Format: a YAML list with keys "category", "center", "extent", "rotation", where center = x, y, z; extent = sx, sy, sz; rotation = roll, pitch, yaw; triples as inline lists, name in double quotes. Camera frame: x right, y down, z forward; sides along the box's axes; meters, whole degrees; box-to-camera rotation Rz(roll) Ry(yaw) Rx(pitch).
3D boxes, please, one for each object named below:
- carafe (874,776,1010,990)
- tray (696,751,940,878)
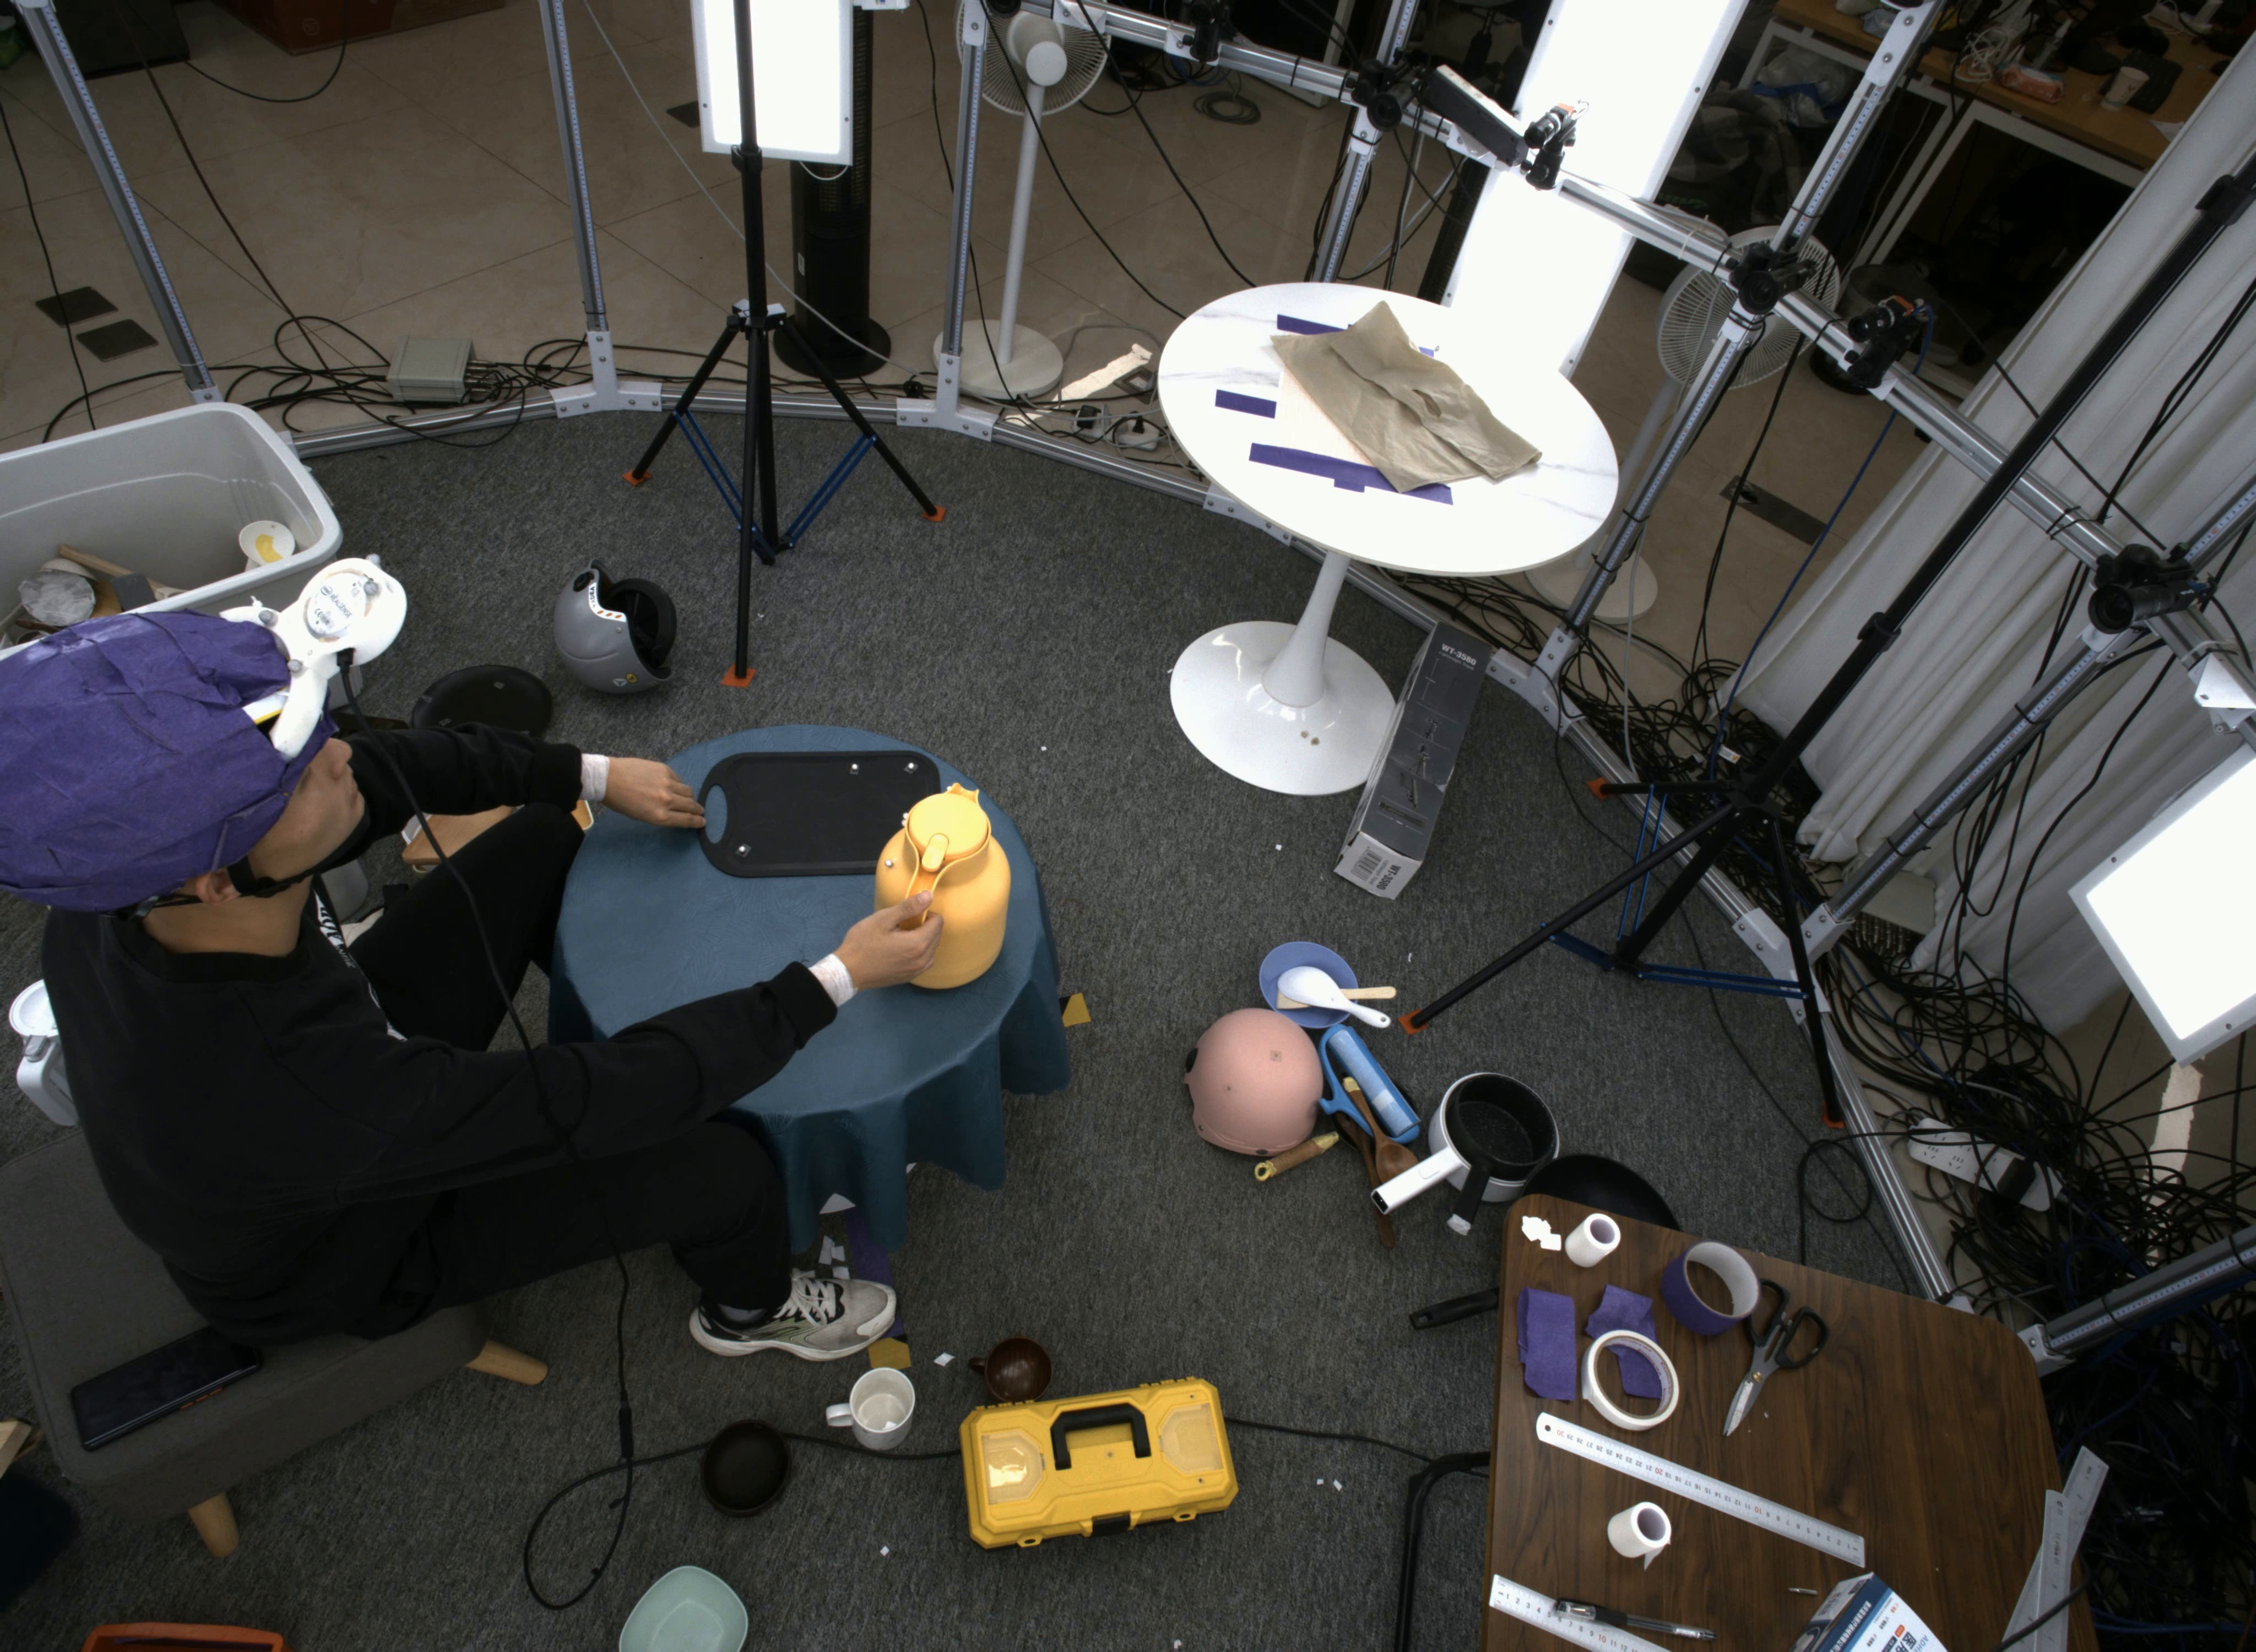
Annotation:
- category: "carafe"
  center: [-0.228, 0.081, 1.543]
  extent: [0.161, 0.267, 0.200]
  rotation: [17, 49, 4]
- category: "tray"
  center: [-0.411, -0.021, 1.736]
  extent: [0.326, 0.010, 0.206]
  rotation: [-1, 54, -15]
